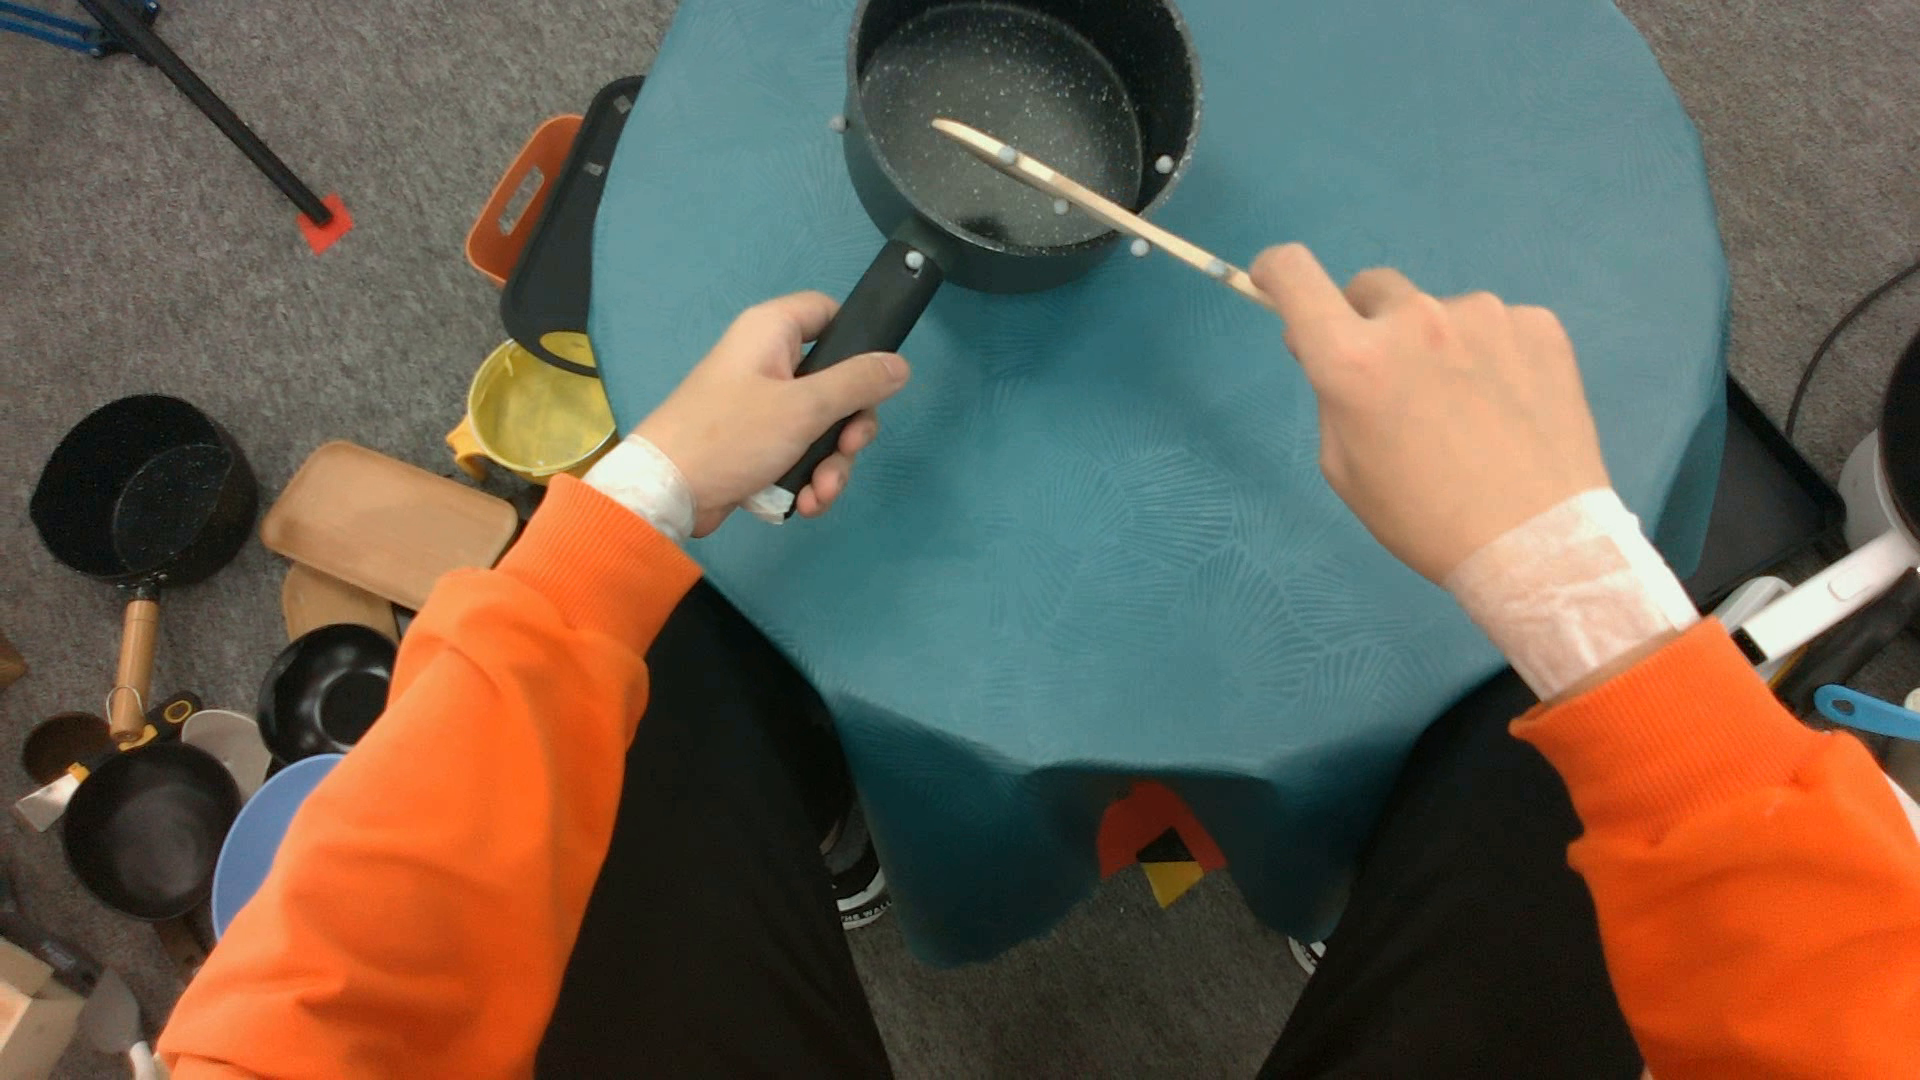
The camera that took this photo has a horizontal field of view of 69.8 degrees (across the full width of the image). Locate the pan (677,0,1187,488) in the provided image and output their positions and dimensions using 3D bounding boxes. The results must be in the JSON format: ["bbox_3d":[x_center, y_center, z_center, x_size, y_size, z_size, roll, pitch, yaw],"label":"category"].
[{"bbox_3d":[-0.024,-0.154,0.658,0.172,0.086,0.329,35,75,-4],"label":"pan"}]

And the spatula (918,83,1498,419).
[{"bbox_3d":[0.094,-0.124,0.568,0.293,0.072,0.010,39,100,32],"label":"spatula"}]
